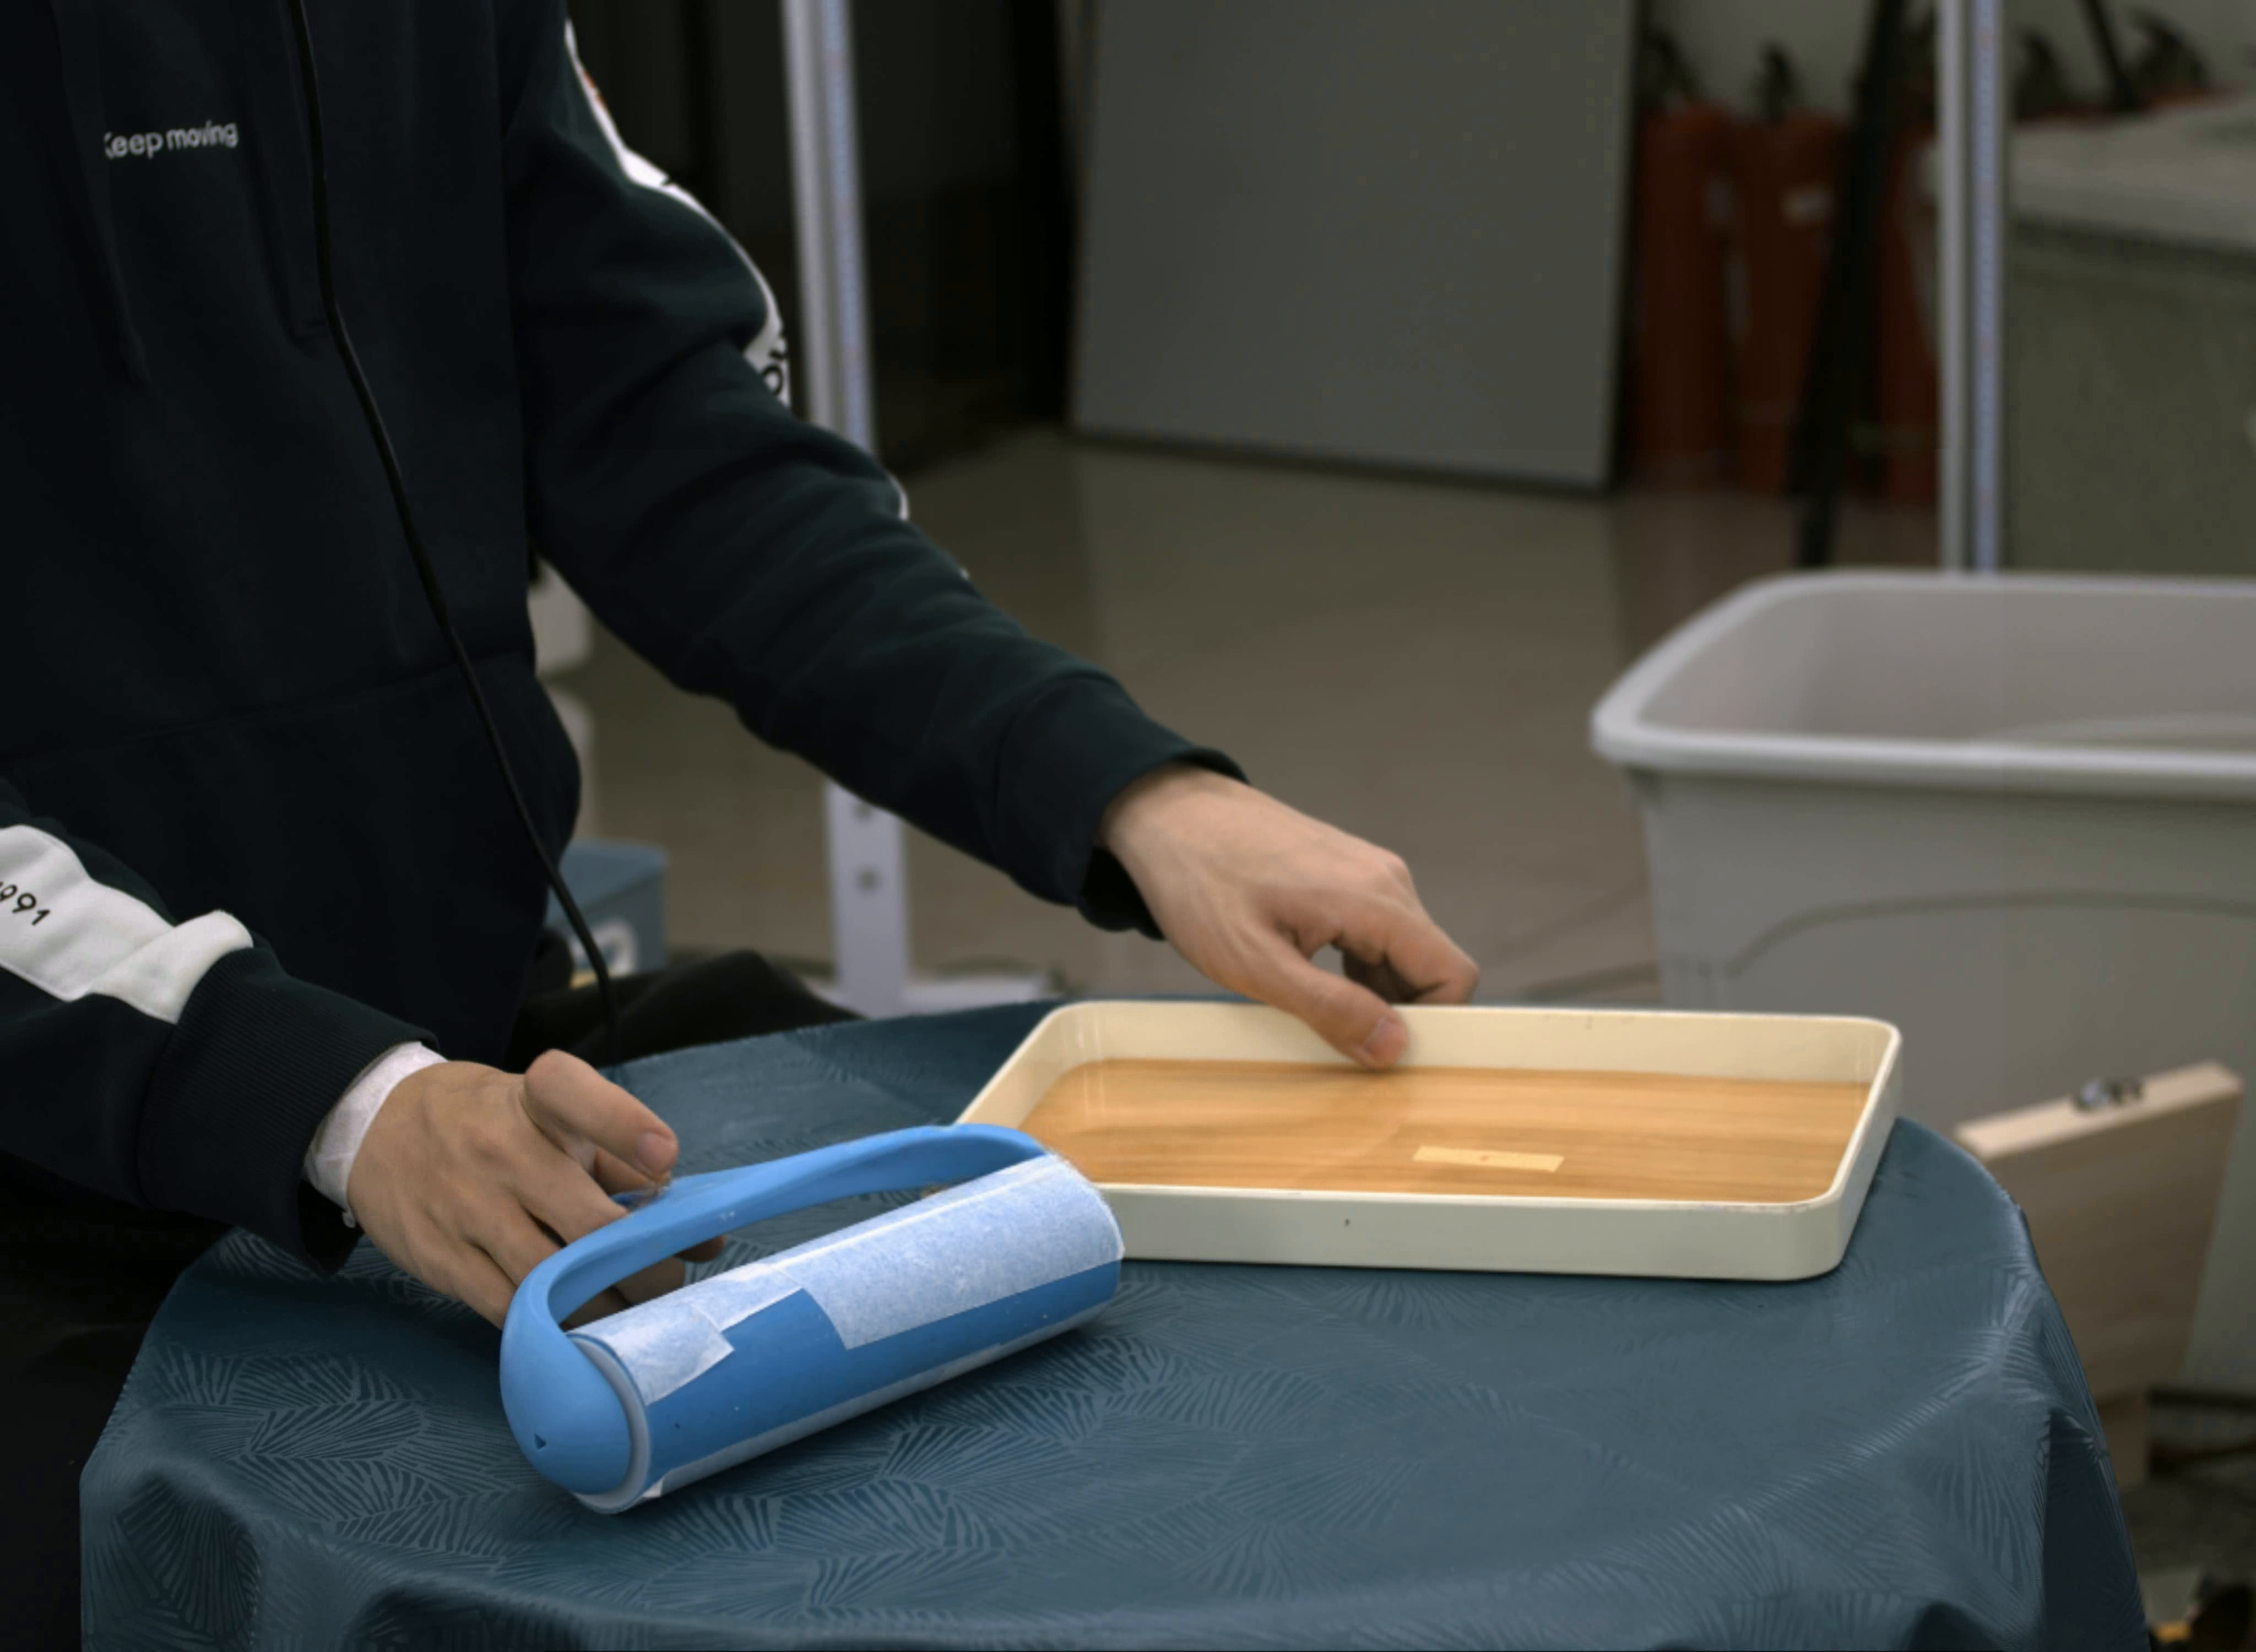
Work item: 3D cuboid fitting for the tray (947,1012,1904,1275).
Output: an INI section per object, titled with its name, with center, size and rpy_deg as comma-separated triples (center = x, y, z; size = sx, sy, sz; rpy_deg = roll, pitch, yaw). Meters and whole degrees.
[tray]
center = 0.096, 0.102, 1.760
size = 0.299, 0.028, 0.190
rpy_deg = 0, 15, 17

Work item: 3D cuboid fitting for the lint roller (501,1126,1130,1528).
[lint roller]
center = -0.127, 0.140, 1.616
size = 0.182, 0.068, 0.224
rpy_deg = 9, 21, 40
